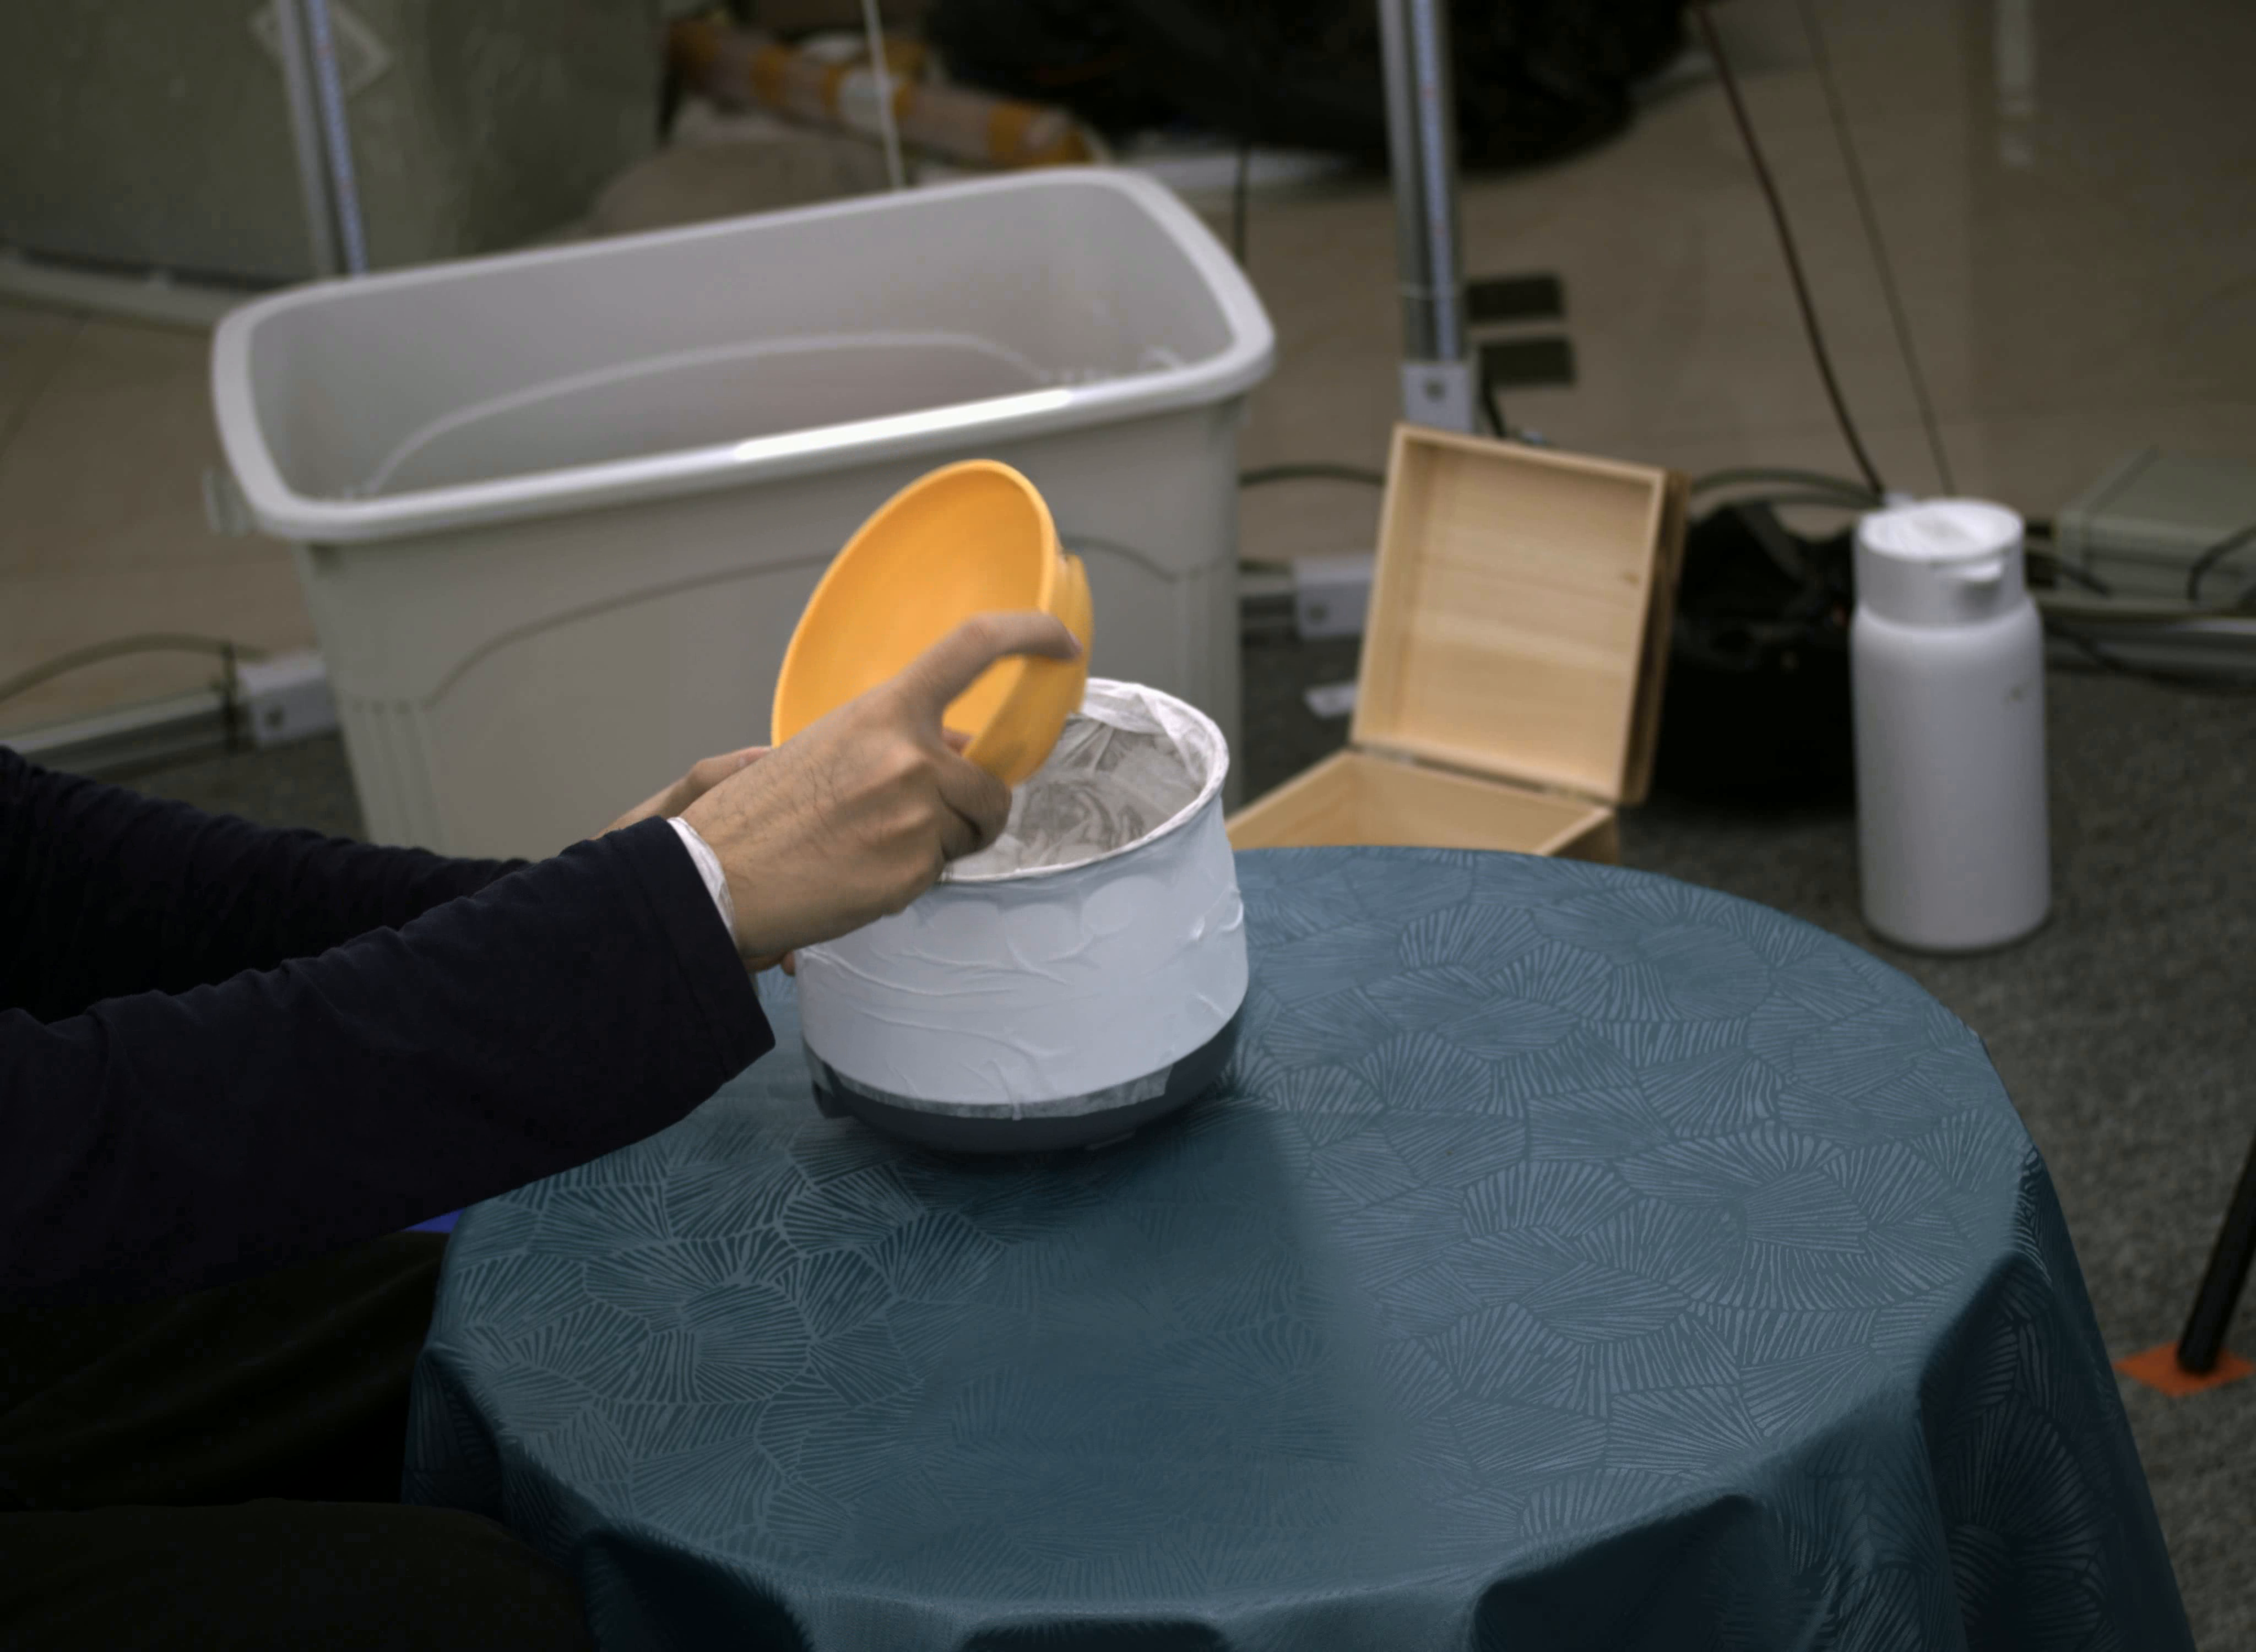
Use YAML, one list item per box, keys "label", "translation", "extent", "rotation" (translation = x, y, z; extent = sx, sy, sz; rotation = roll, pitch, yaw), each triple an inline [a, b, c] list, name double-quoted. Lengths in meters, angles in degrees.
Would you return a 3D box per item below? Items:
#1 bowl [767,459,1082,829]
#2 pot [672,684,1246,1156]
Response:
- label: "bowl"
  translation: [-0.061, -0.055, 2.034]
  extent: [0.060, 0.146, 0.143]
  rotation: [29, 5, -34]
- label: "pot"
  translation: [-0.070, 0.036, 2.210]
  extent: [0.233, 0.139, 0.176]
  rotation: [4, 26, 17]
